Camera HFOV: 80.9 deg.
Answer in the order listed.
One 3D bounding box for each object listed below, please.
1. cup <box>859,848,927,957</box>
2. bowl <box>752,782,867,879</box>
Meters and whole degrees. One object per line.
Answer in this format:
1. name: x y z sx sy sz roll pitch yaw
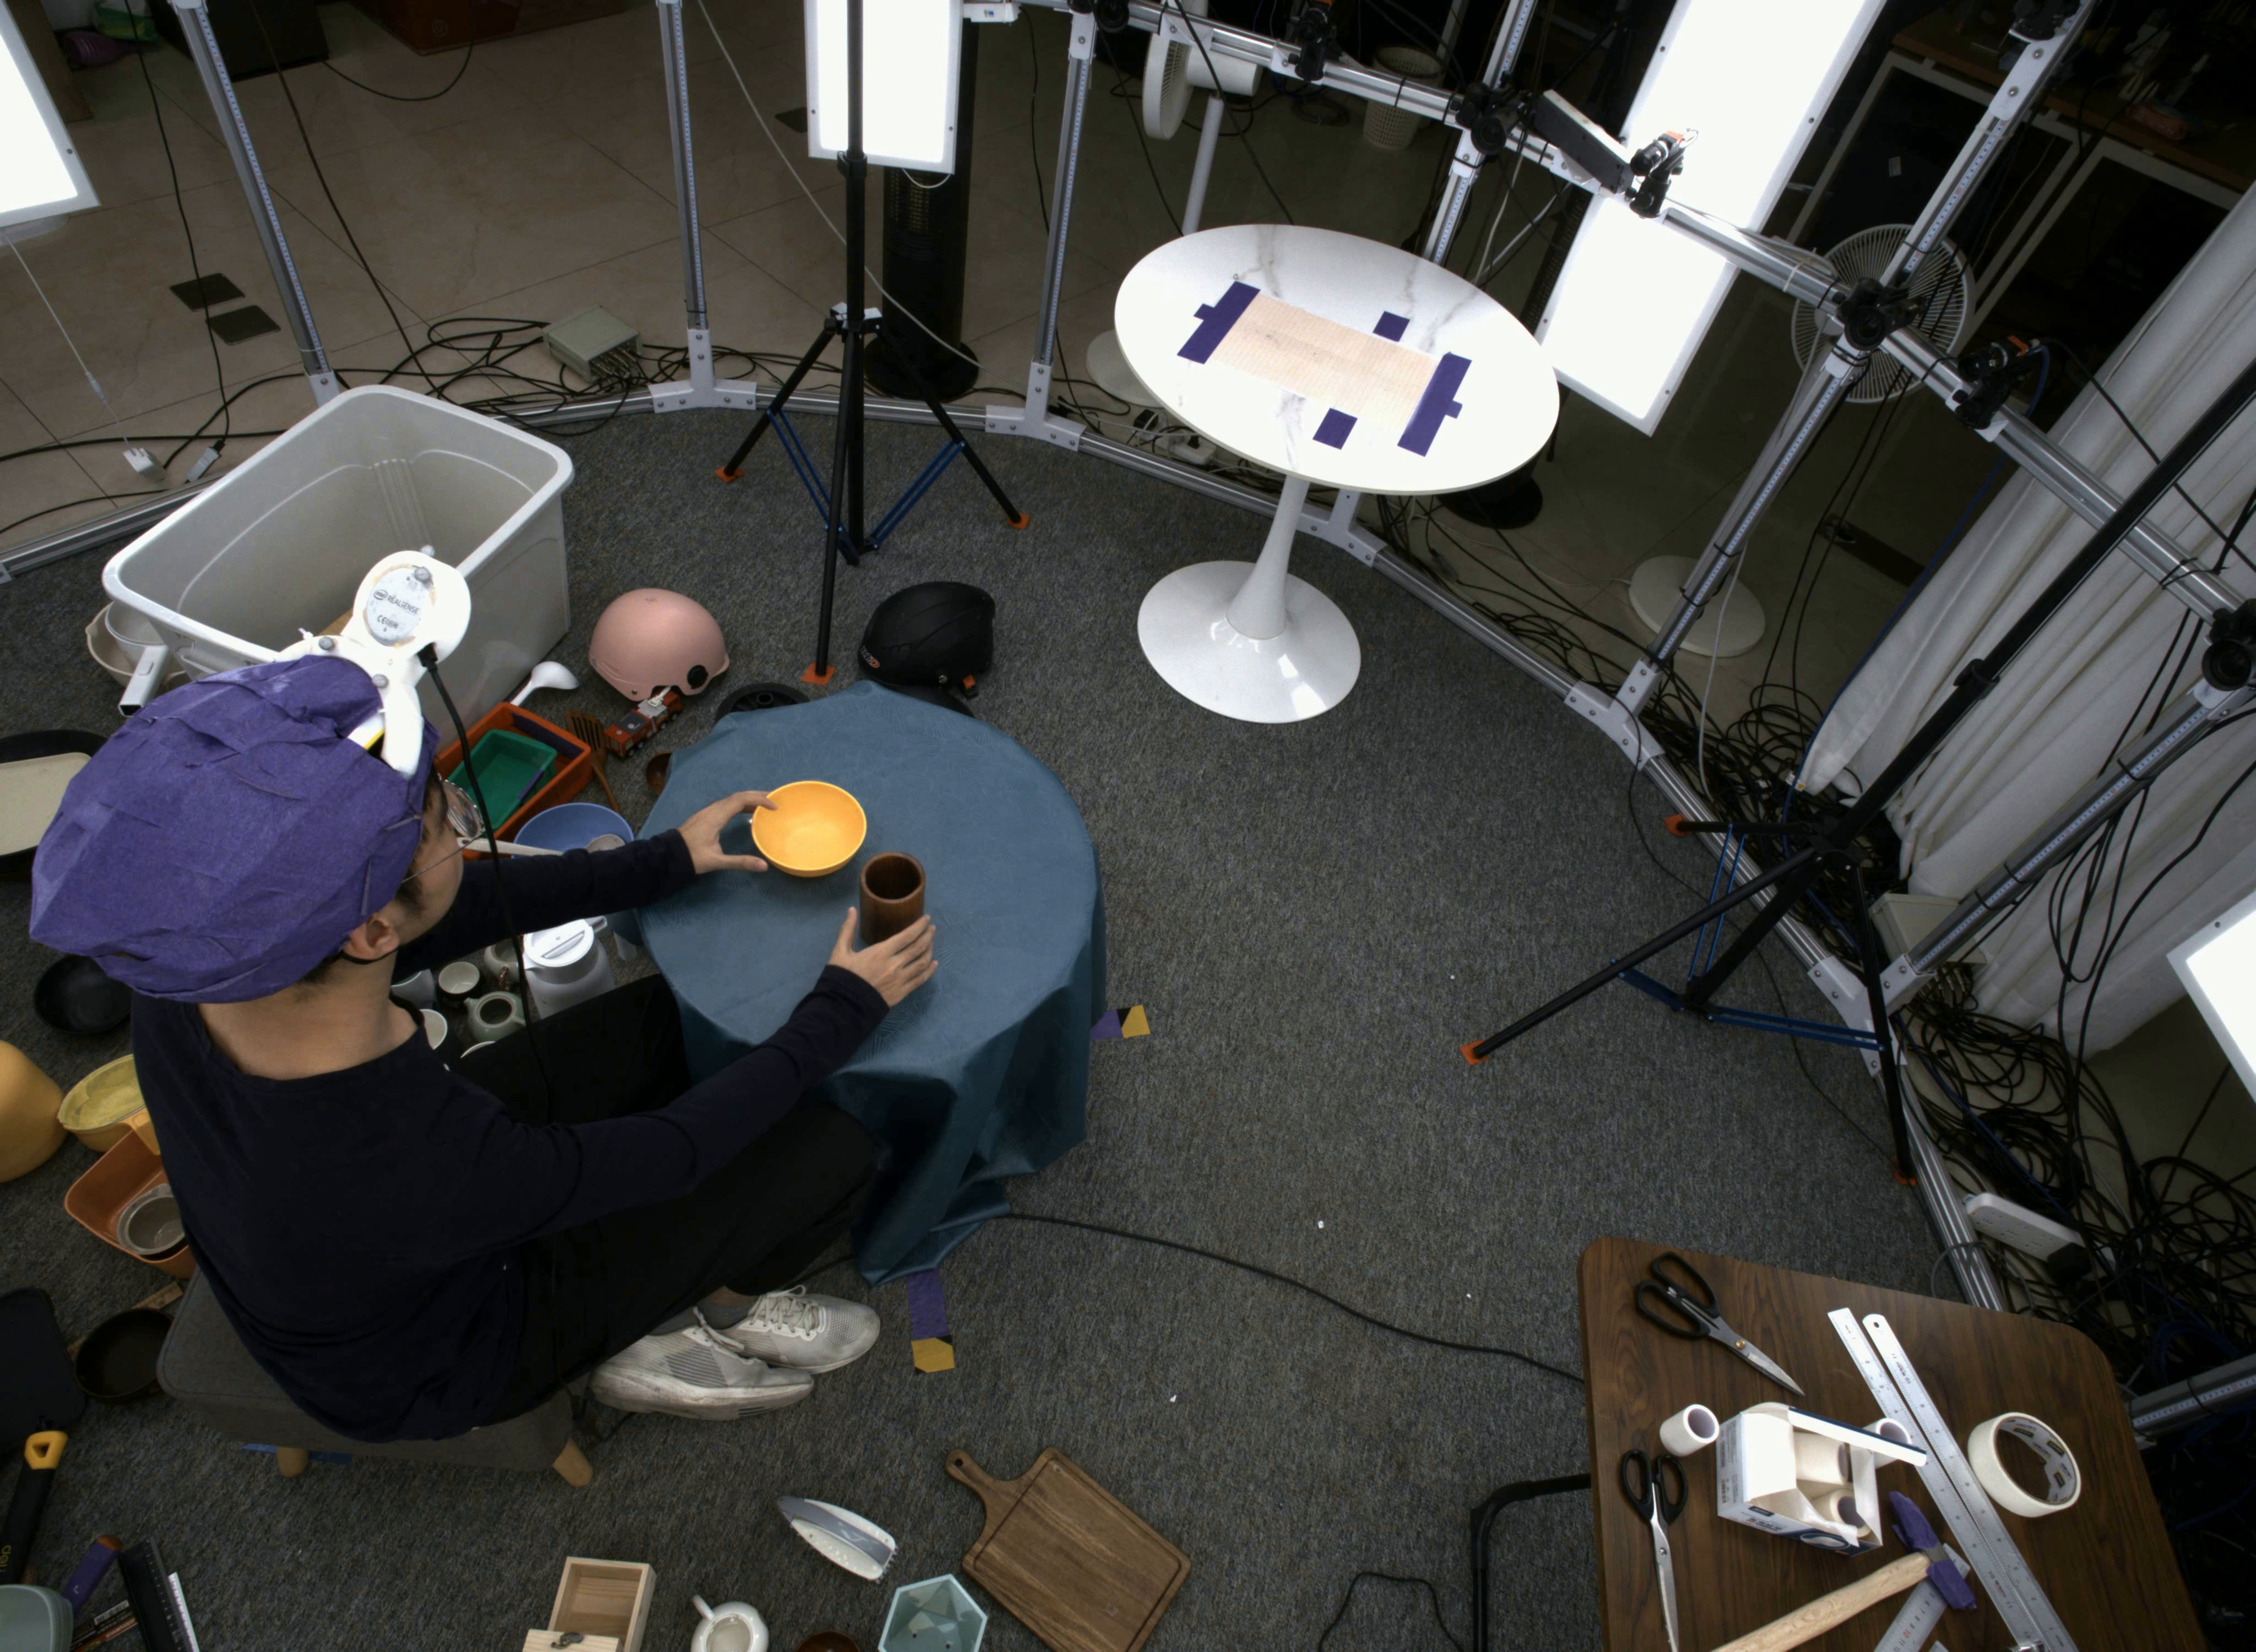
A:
1. cup: -0.290 0.095 1.612 0.087 0.121 0.086 5 50 -4
2. bowl: -0.410 0.016 1.680 0.145 0.061 0.143 6 53 -7
